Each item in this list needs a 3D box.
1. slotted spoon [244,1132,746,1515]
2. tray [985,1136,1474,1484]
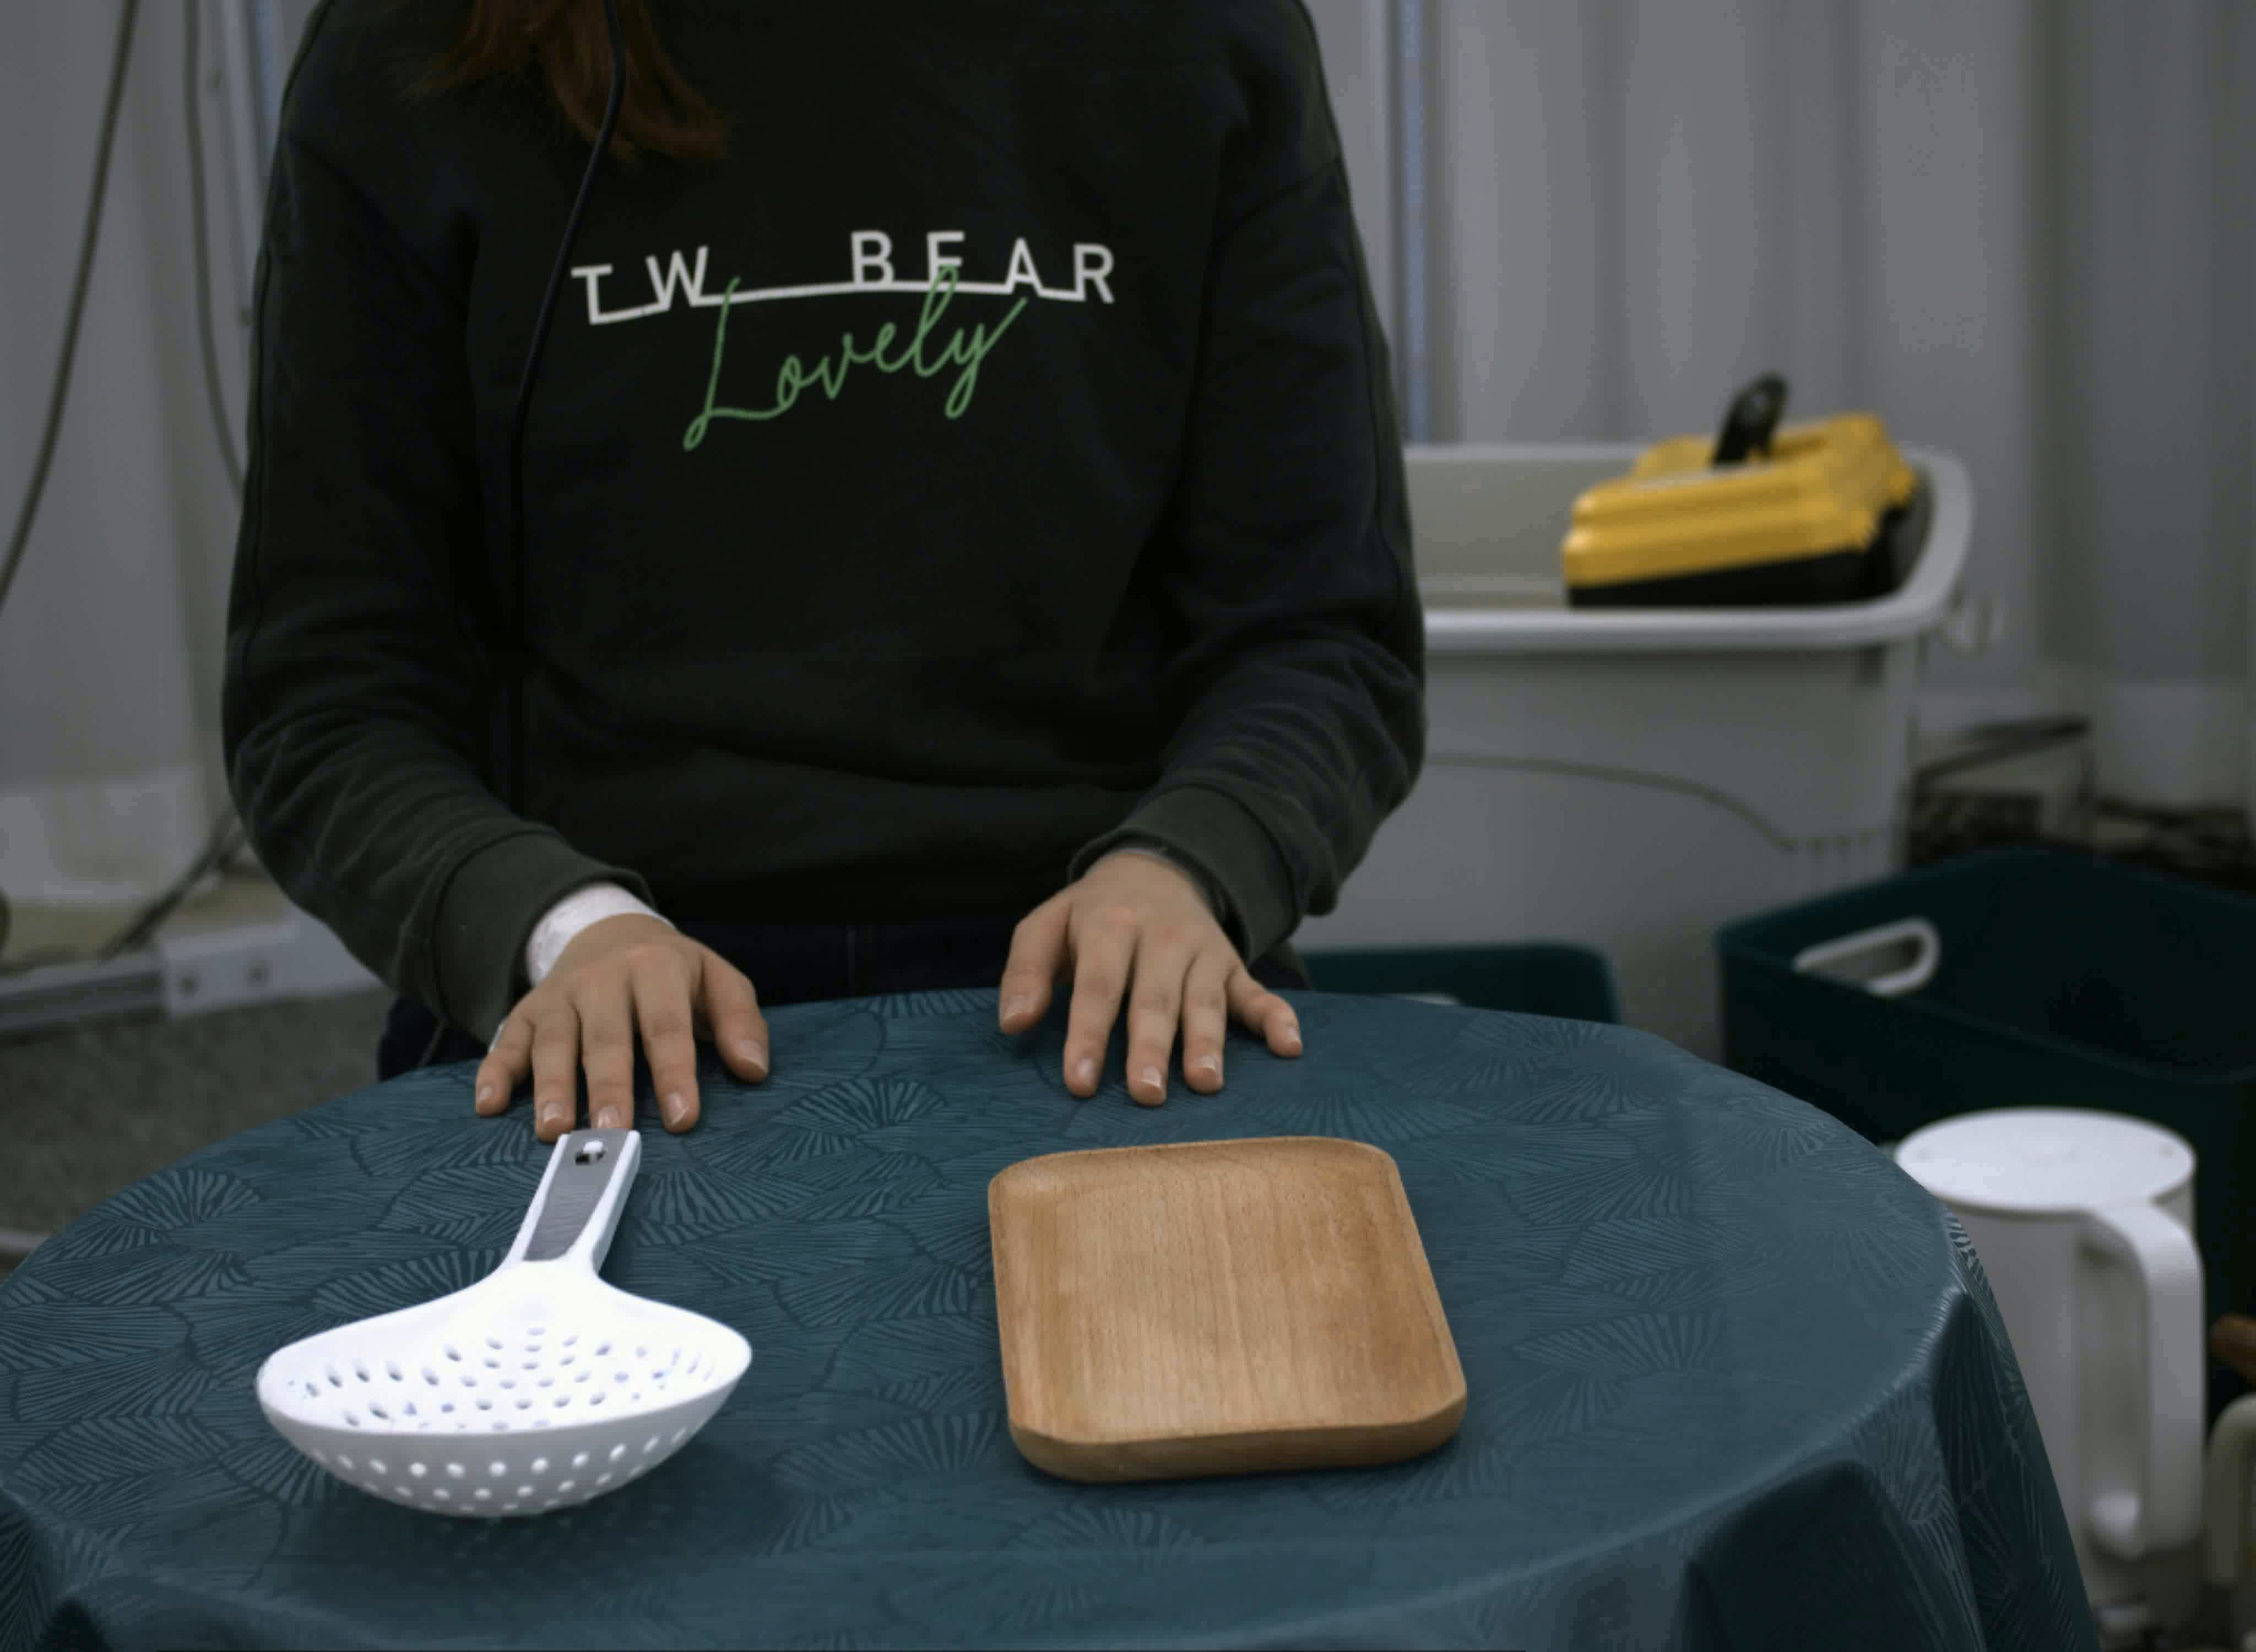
[{"bbox_3d":[-0.170,0.135,1.584,0.135,0.045,0.352,-1,14,1],"label":"slotted spoon"},{"bbox_3d":[0.025,0.138,1.591,0.130,0.023,0.252,-2,14,-2],"label":"tray"}]
